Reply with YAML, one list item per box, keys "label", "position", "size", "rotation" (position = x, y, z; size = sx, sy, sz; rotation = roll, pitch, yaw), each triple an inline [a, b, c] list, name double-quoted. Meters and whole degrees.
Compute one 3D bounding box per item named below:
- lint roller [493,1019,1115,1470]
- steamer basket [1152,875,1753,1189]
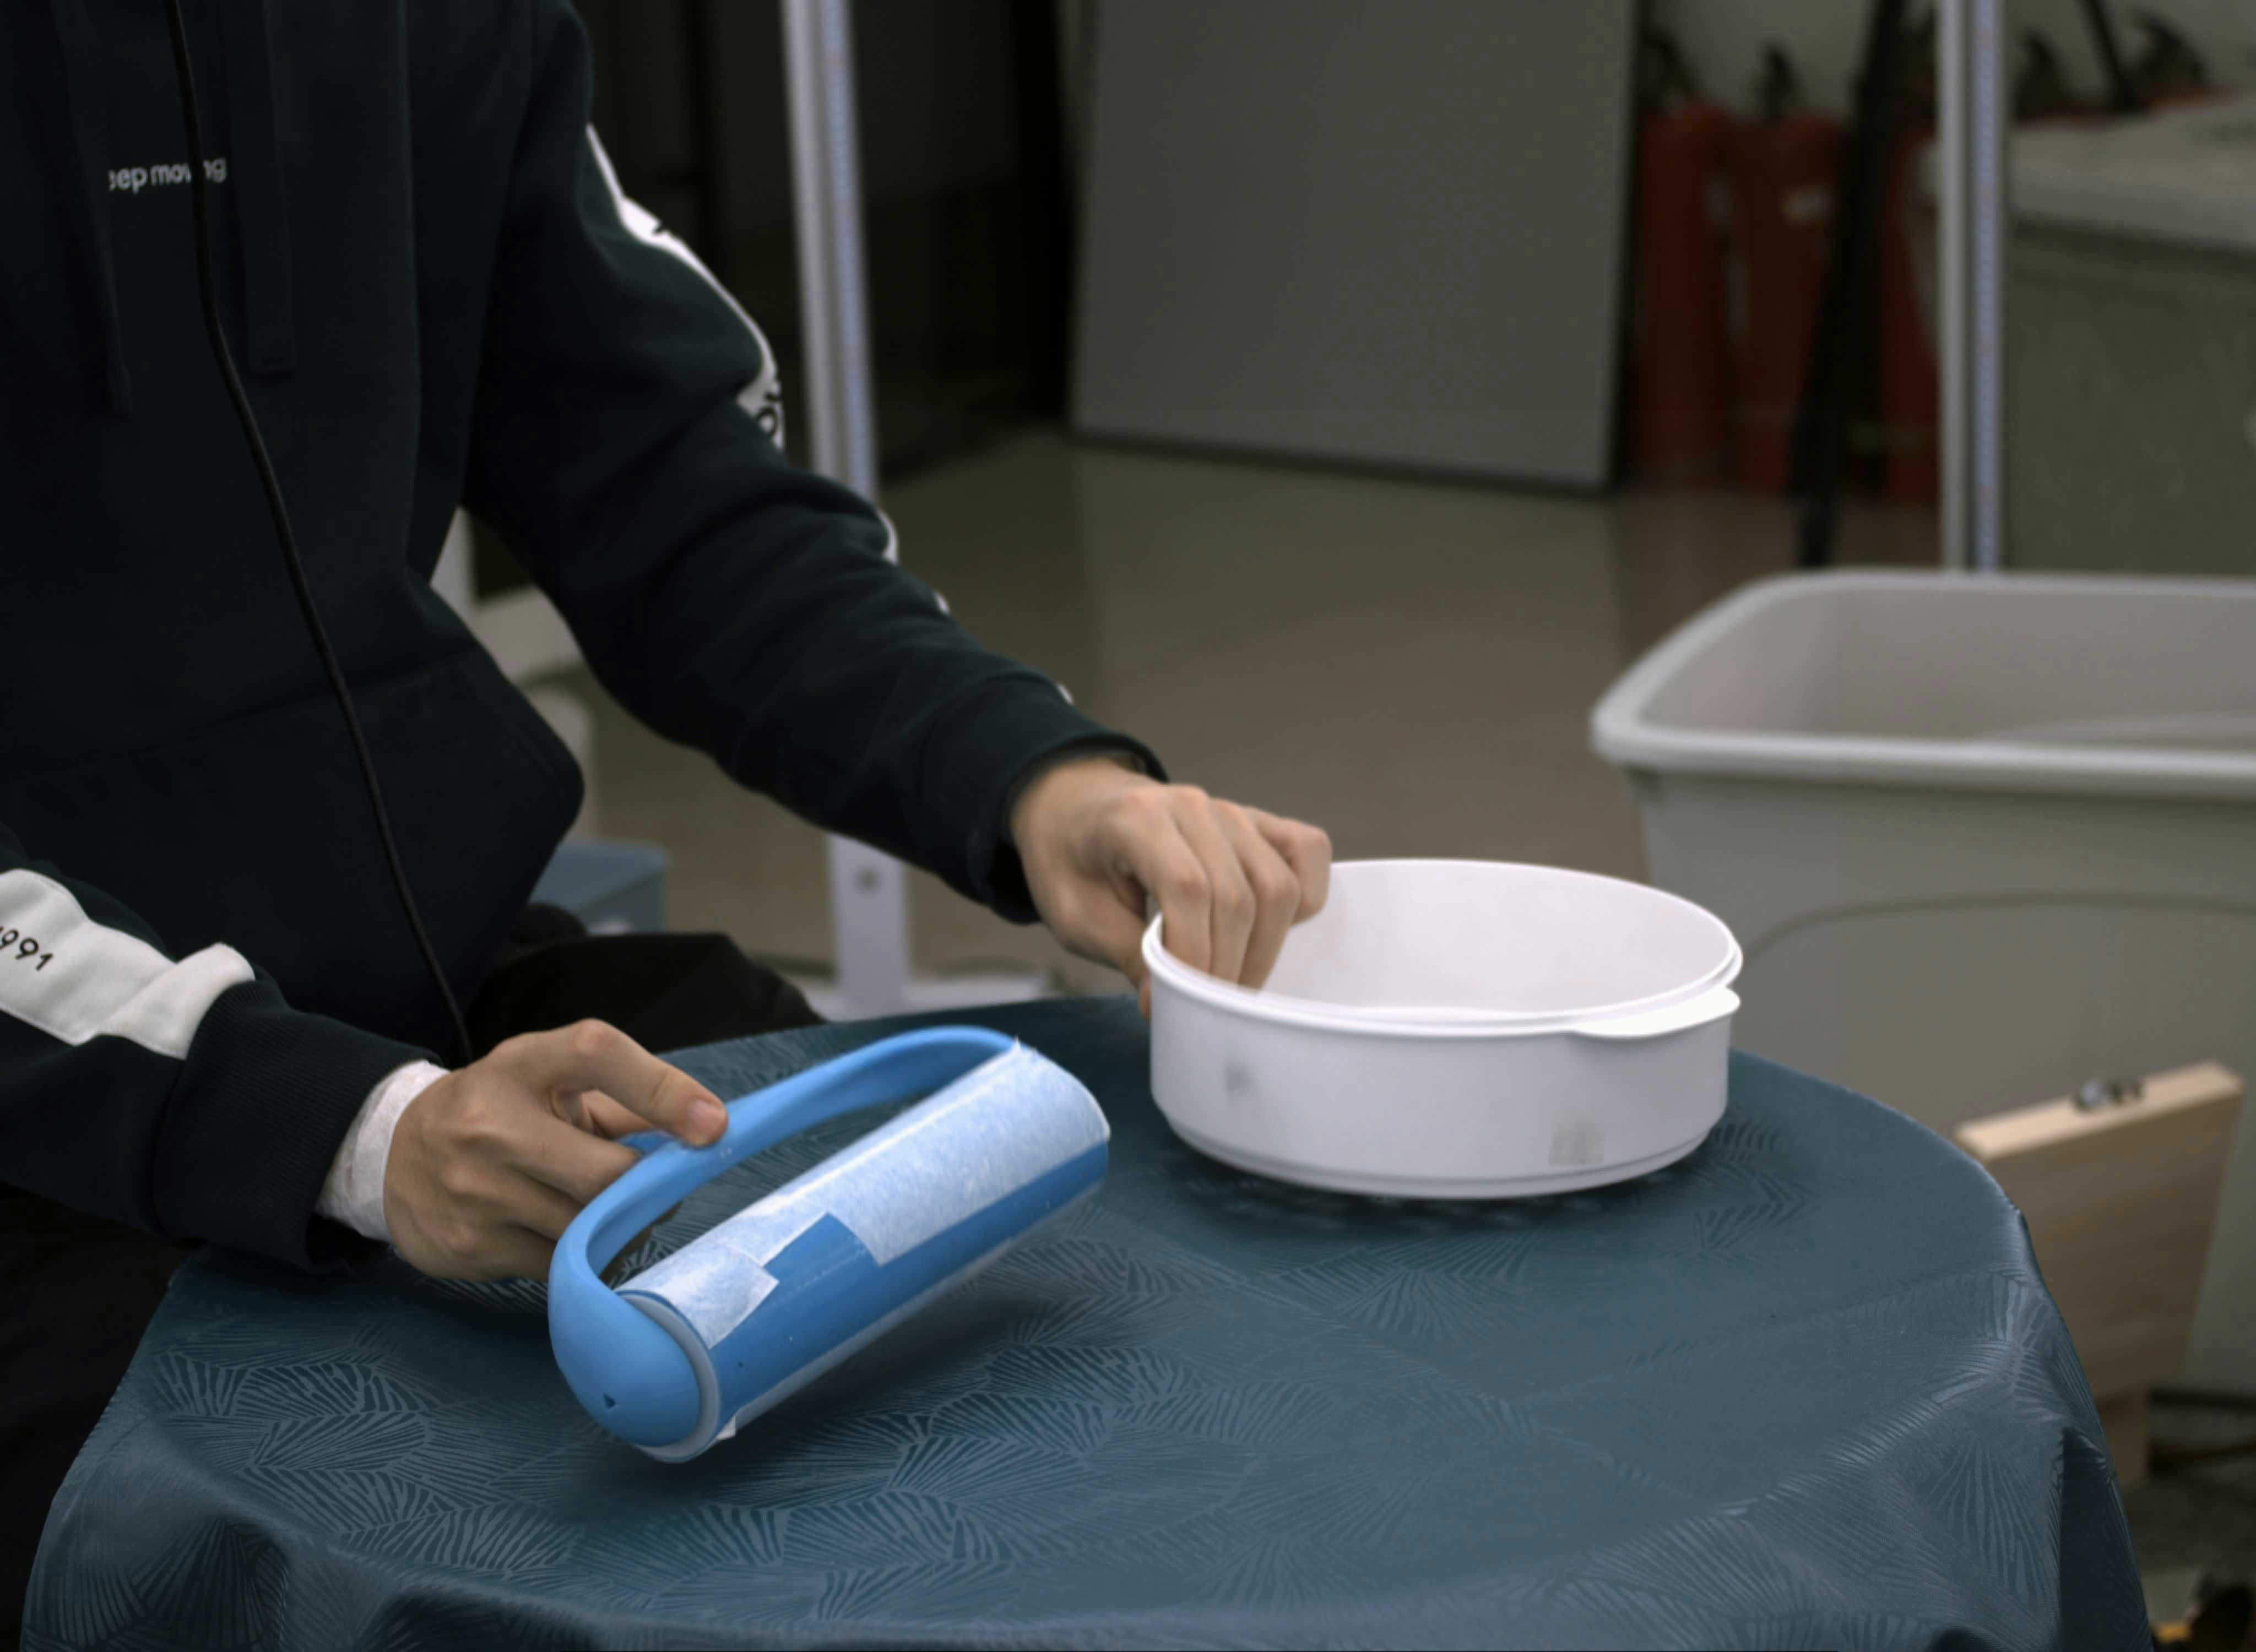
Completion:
- label: "lint roller"
  position: [-0.126, 0.122, 1.630]
  size: [0.181, 0.068, 0.226]
  rotation: [2, 23, 33]
- label: "steamer basket"
  position: [0.107, 0.068, 1.787]
  size: [0.197, 0.070, 0.233]
  rotation: [-9, 15, -41]
